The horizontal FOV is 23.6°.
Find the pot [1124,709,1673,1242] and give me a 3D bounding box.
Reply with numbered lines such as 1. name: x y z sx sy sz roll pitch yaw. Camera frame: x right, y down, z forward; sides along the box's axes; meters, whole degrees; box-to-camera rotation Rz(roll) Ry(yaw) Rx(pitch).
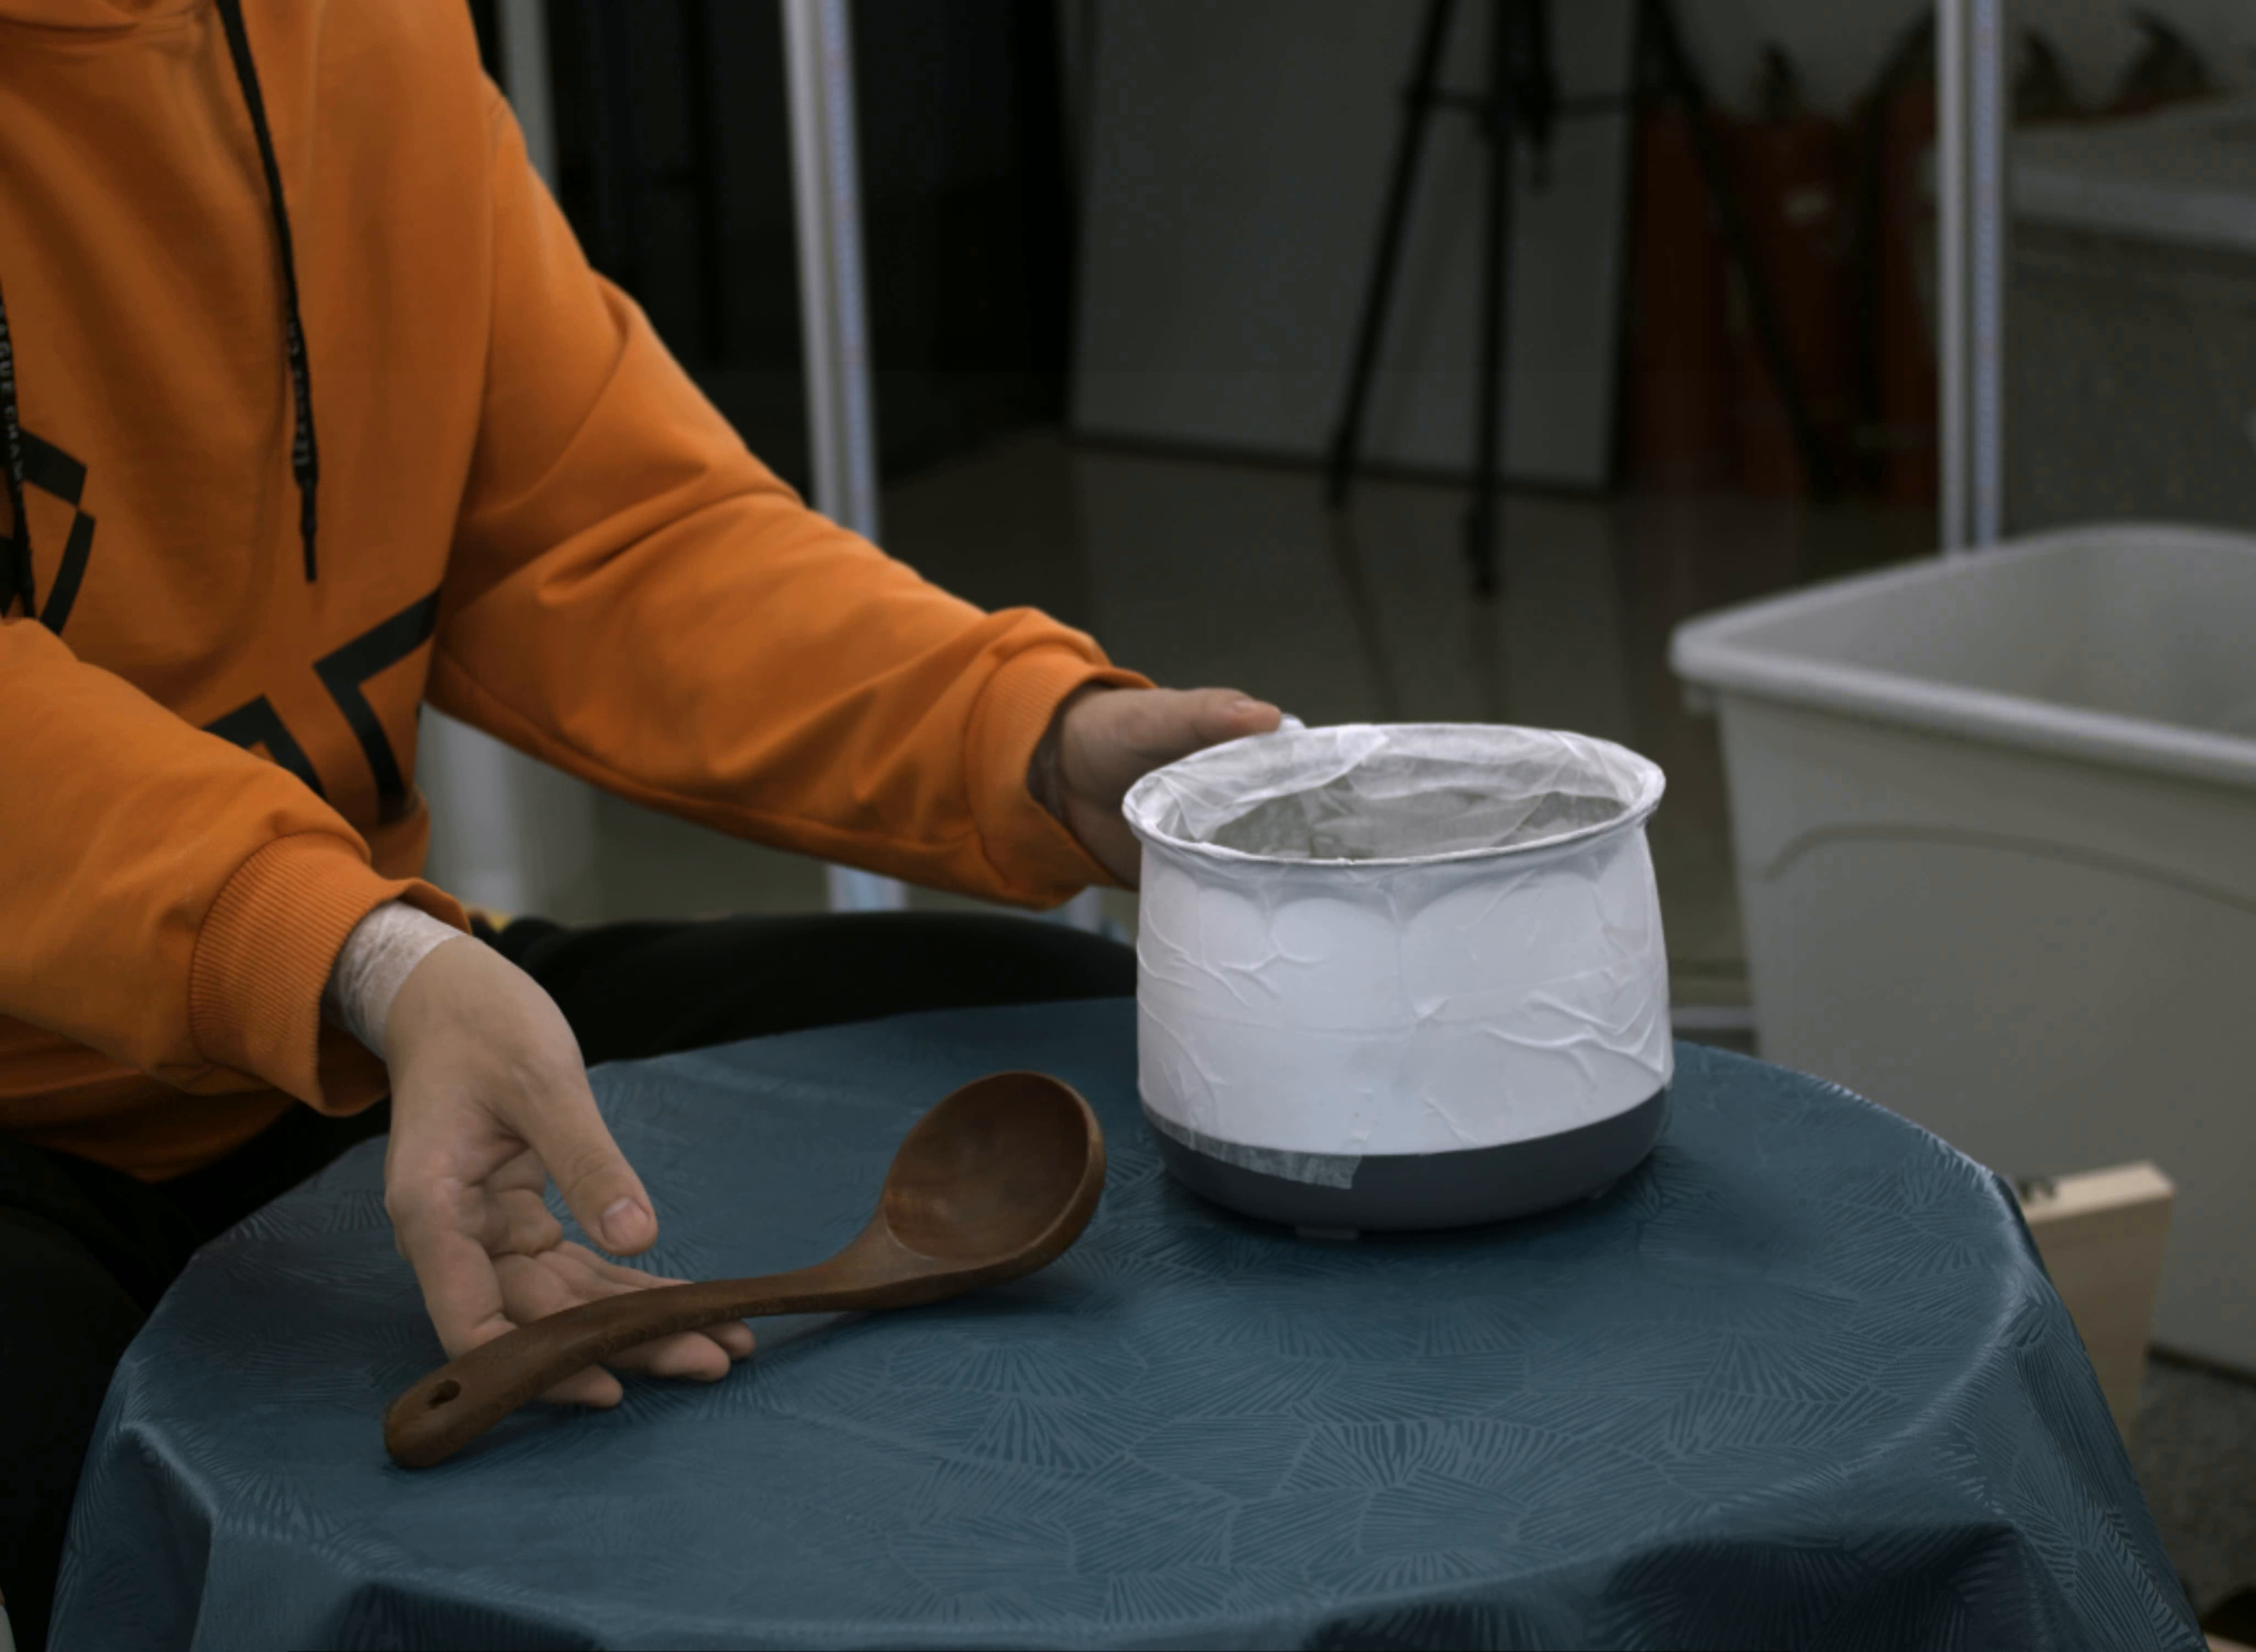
1. pot: 0.079 0.042 1.777 0.175 0.138 0.236 -8 14 -19

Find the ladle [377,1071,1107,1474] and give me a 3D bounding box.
1. ladle: -0.115 0.132 1.628 0.254 0.066 0.077 -14 23 -36
